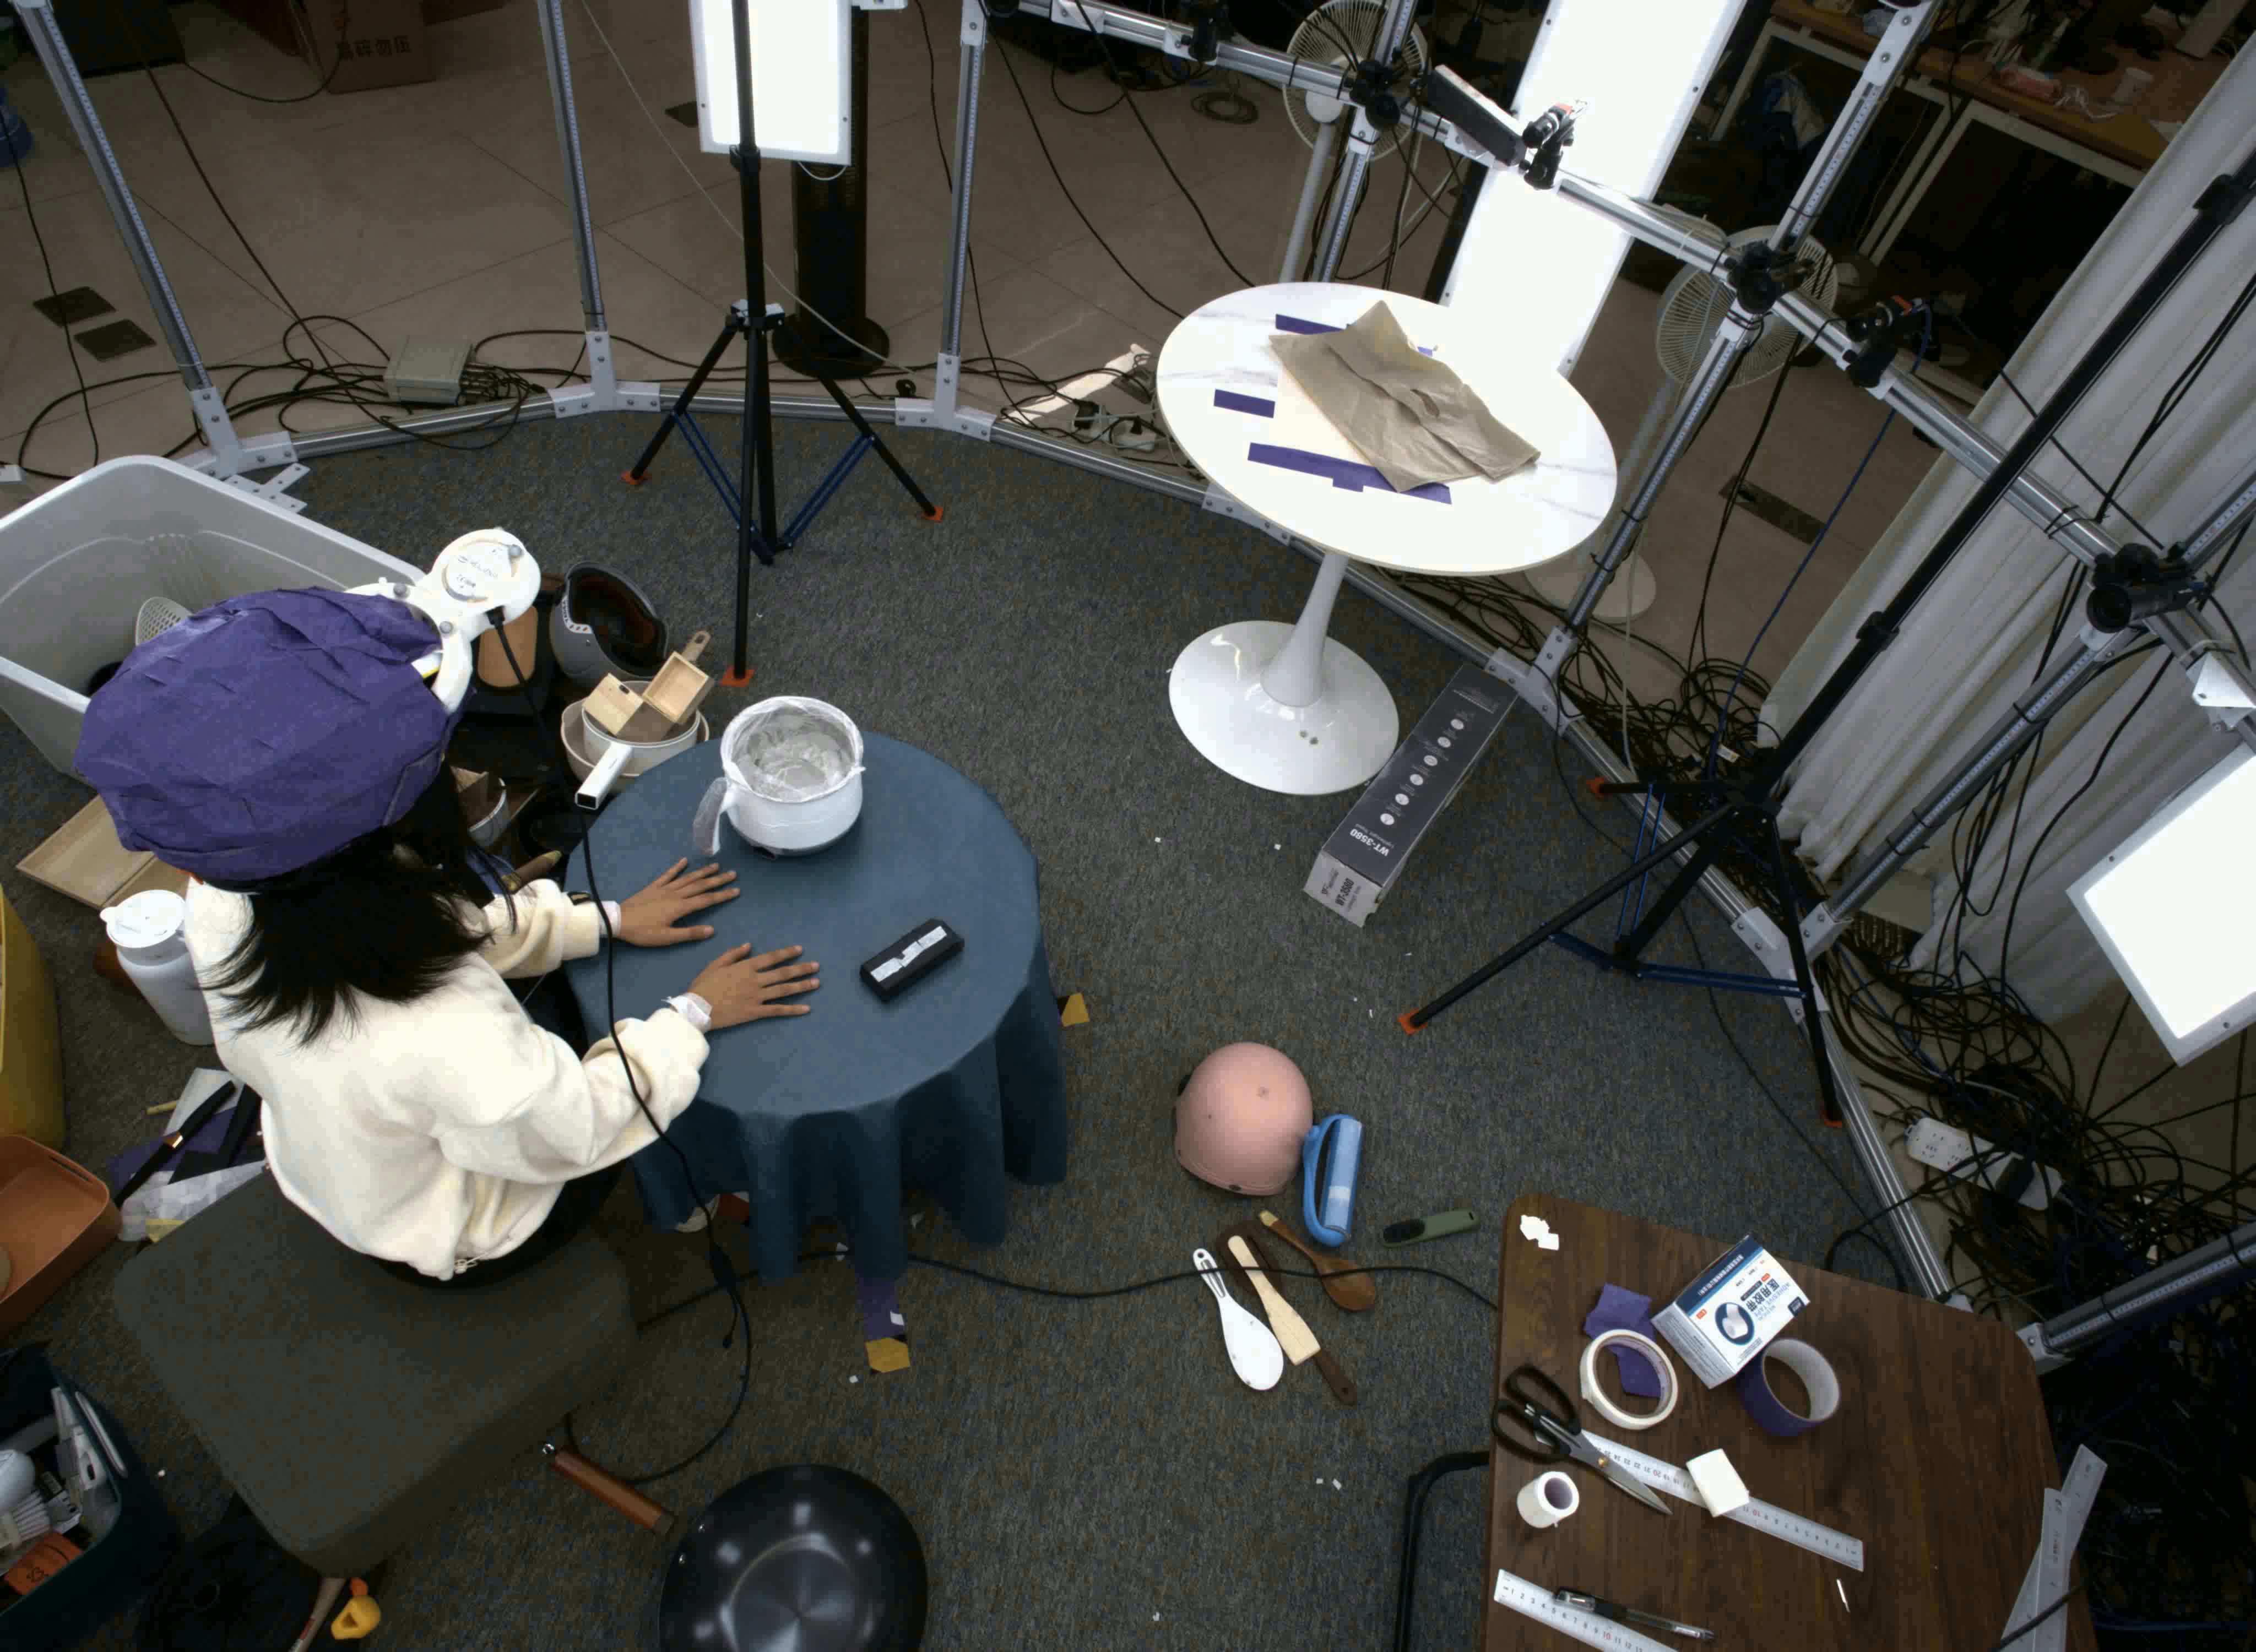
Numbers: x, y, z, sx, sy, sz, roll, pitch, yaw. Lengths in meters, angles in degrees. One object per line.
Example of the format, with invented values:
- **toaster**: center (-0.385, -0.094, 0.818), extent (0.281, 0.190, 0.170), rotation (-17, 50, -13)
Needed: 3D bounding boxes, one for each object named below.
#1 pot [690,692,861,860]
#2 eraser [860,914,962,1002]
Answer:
- **pot**: center (-0.454, -0.050, 1.658), extent (0.234, 0.139, 0.174), rotation (-34, 67, -33)
- **eraser**: center (-0.269, 0.161, 1.622), extent (0.052, 0.031, 0.126), rotation (42, 56, 19)
